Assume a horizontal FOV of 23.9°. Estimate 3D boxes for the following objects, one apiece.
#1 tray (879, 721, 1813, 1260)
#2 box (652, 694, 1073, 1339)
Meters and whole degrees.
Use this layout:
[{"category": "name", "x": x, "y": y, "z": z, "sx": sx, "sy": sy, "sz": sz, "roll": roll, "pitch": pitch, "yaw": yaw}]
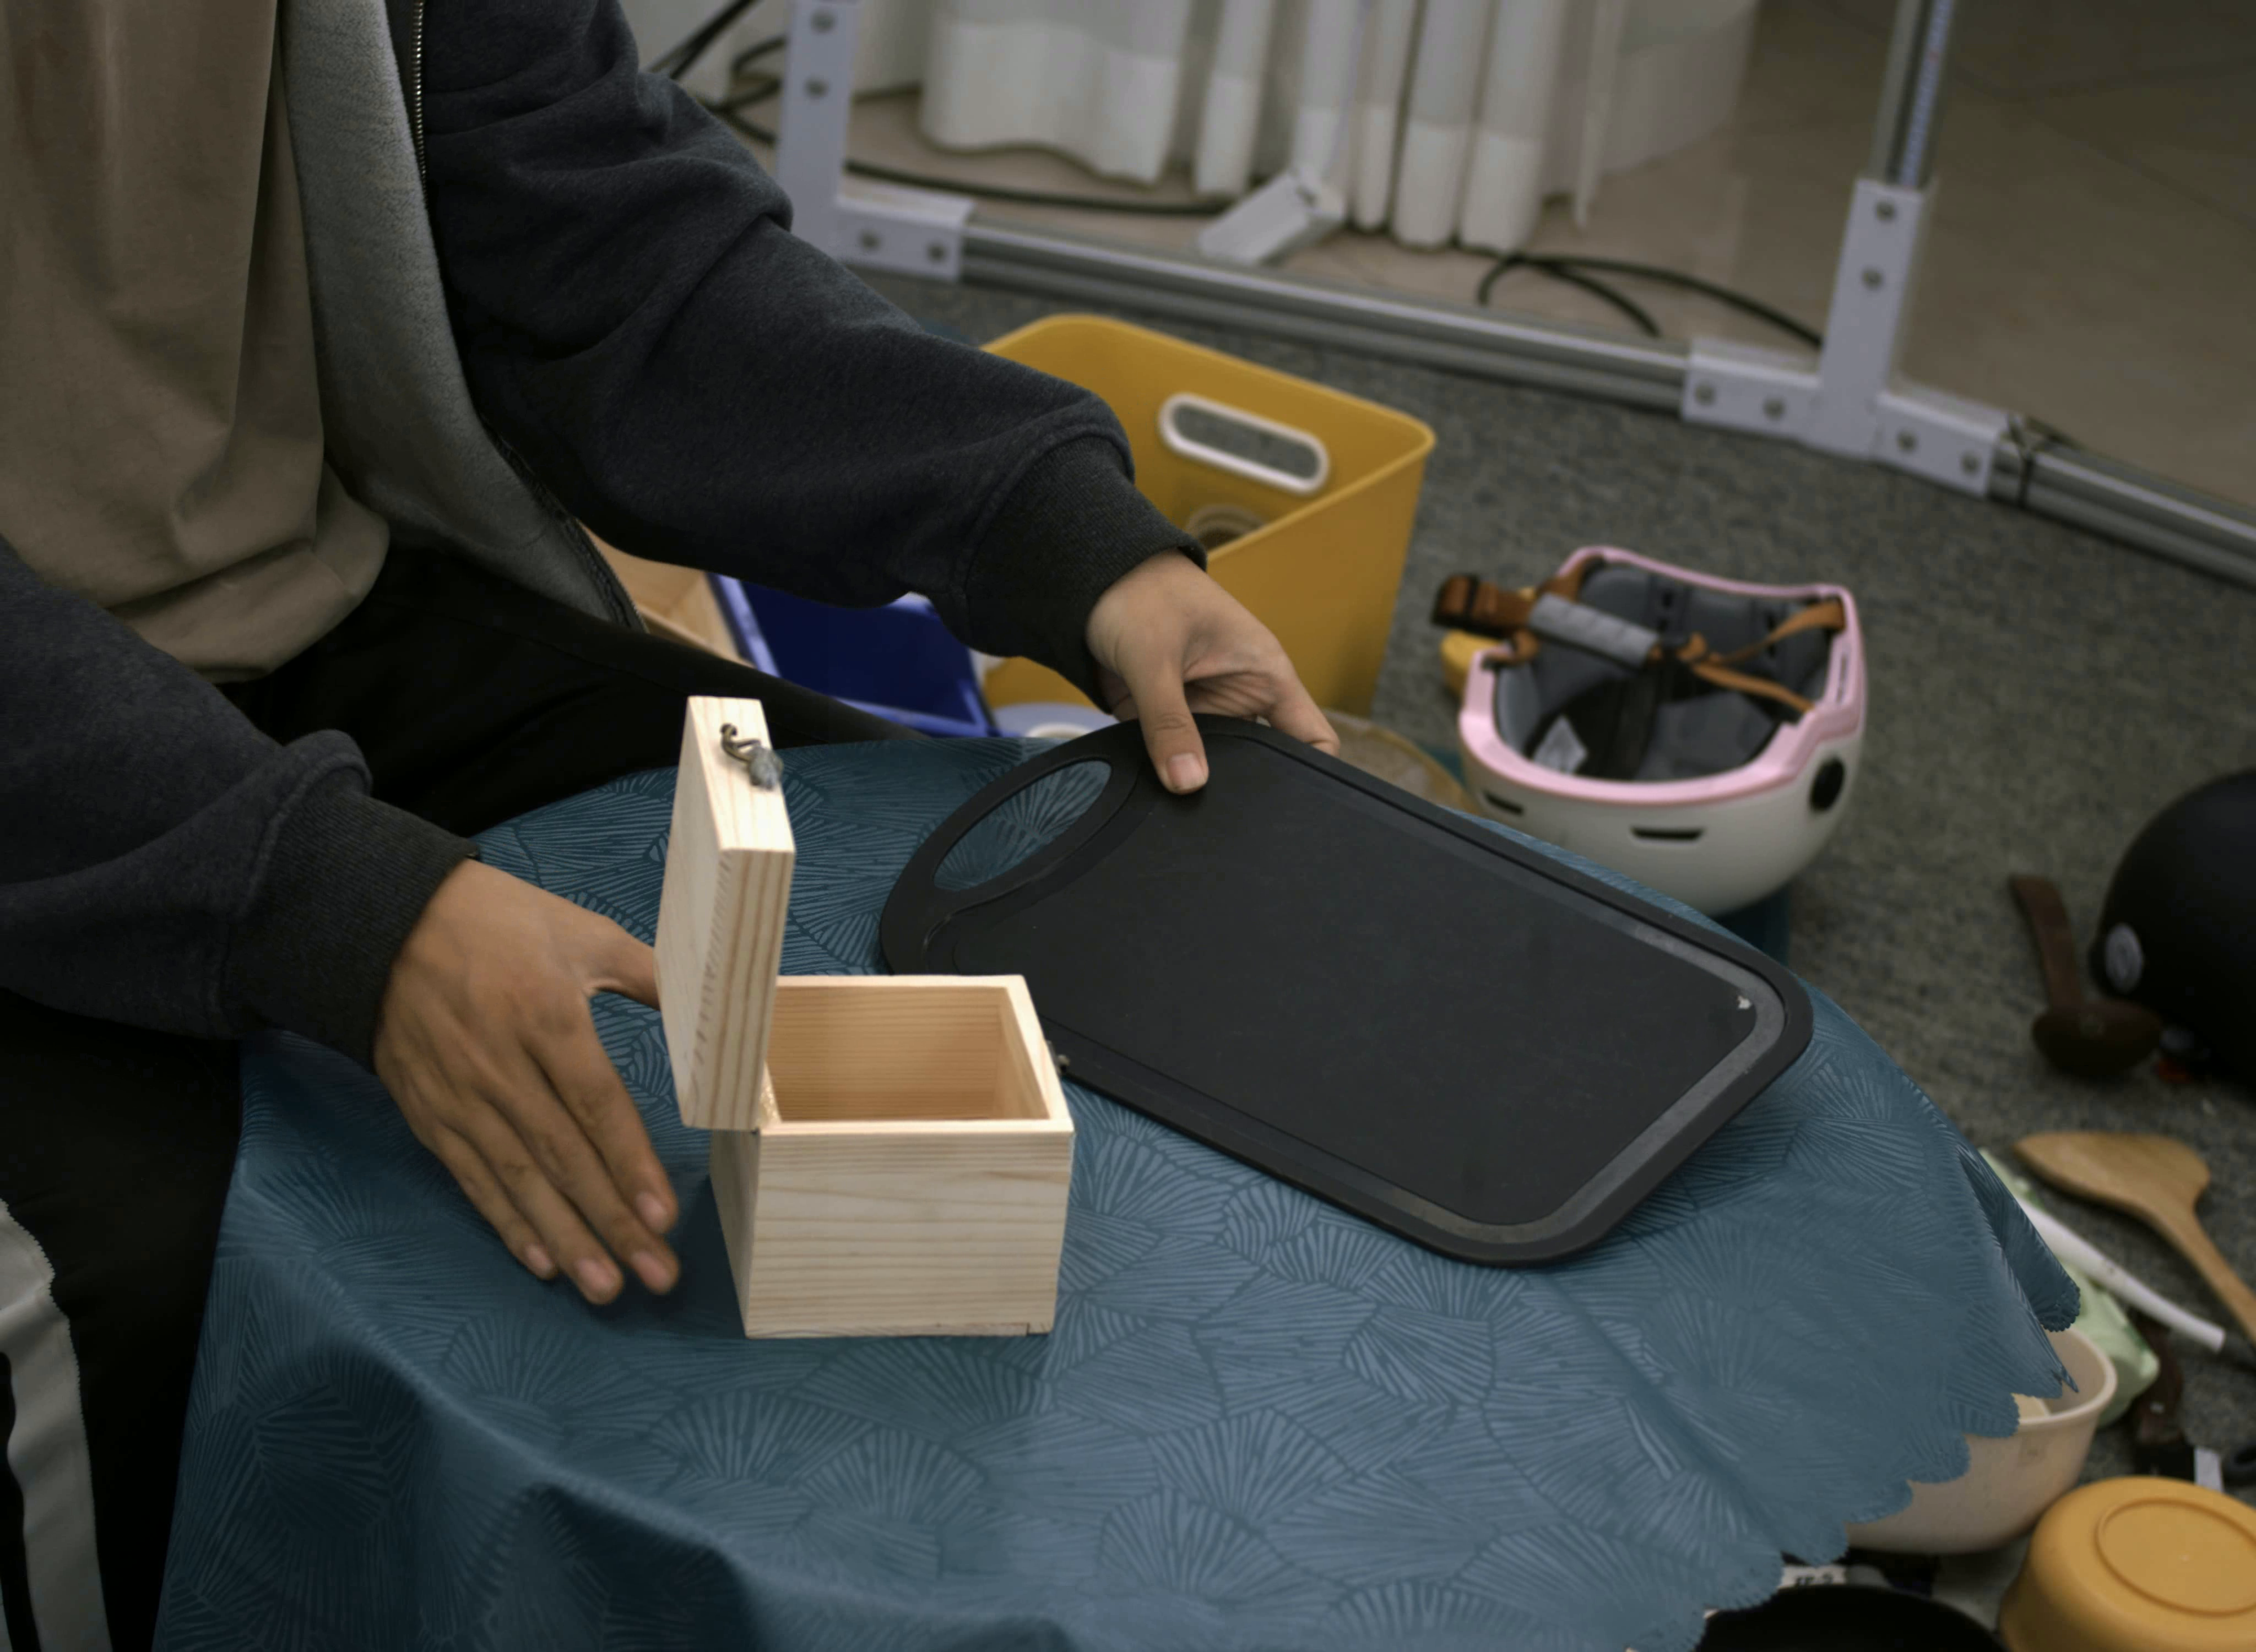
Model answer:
[{"category": "tray", "x": 0.070, "y": 0.050, "z": 1.911, "sx": 0.327, "sy": 0.010, "sz": 0.211, "roll": 25, "pitch": 43, "yaw": 30}, {"category": "box", "x": -0.083, "y": 0.060, "z": 1.705, "sx": 0.133, "sy": 0.184, "sz": 0.103, "roll": 0, "pitch": 28, "yaw": -12}]
